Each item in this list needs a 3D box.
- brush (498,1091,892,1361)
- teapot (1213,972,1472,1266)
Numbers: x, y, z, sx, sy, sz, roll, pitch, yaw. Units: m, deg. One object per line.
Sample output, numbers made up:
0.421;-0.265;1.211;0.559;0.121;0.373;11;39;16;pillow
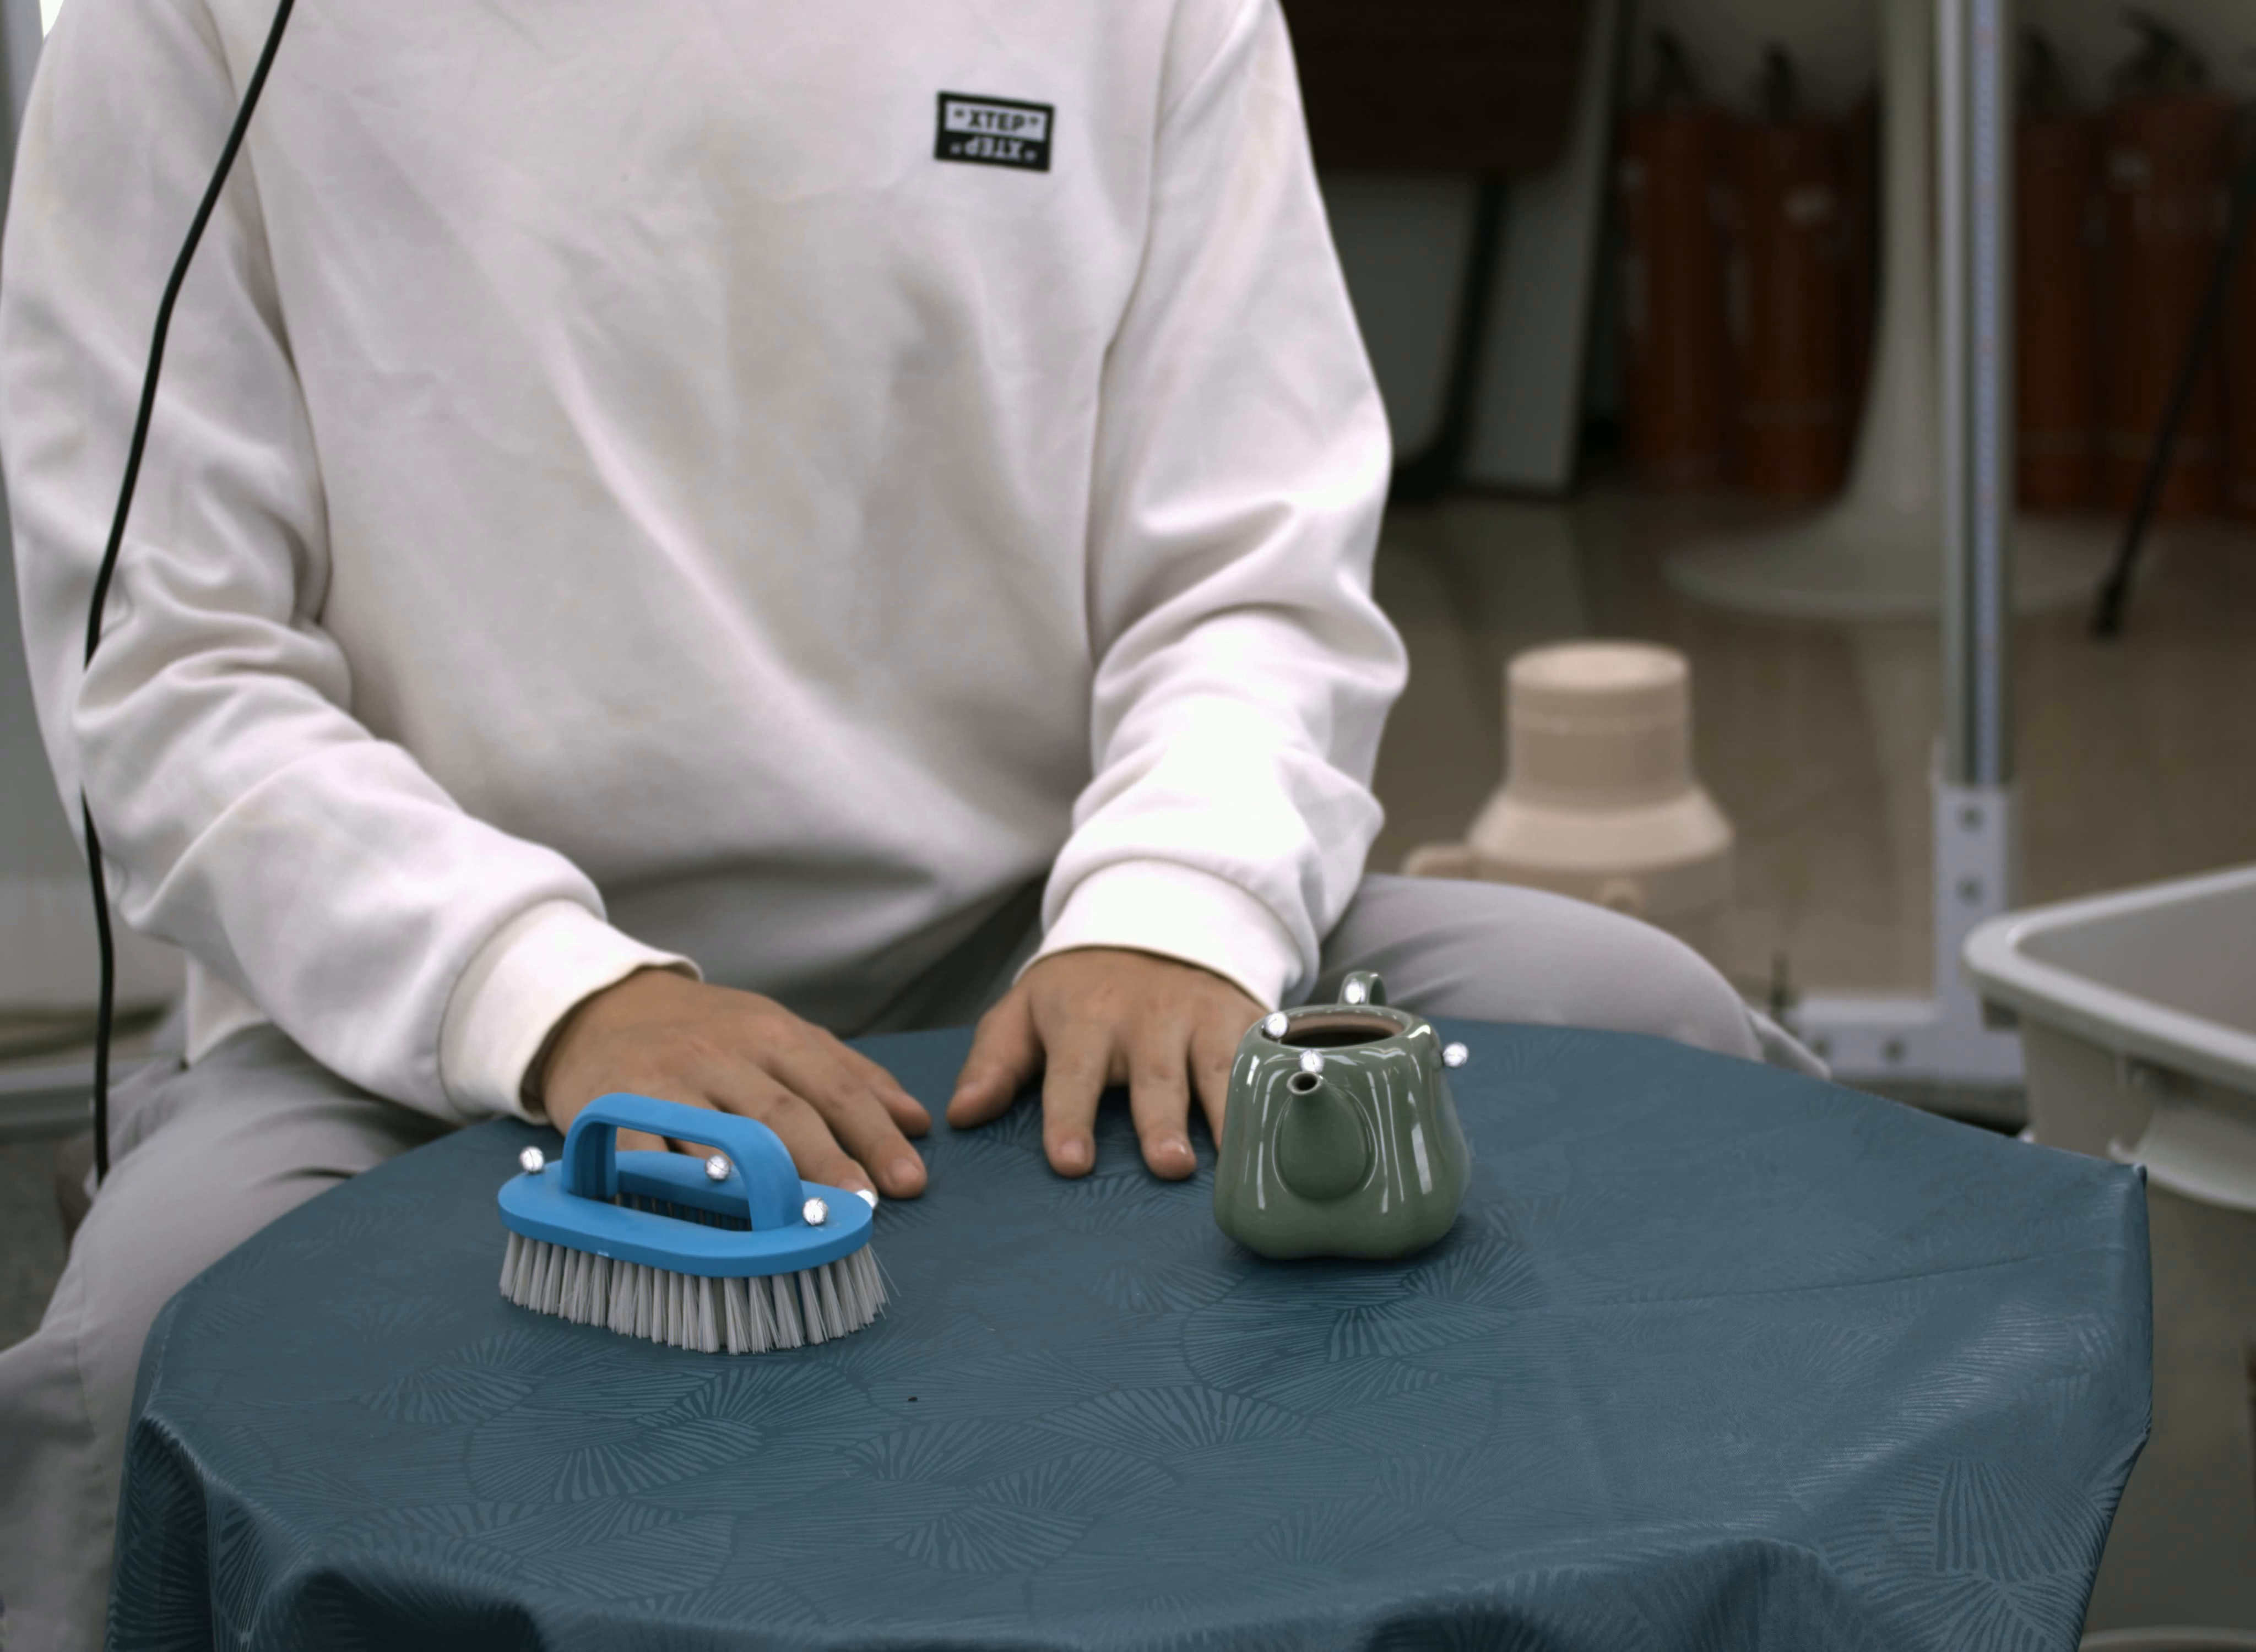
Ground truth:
-0.139;0.118;1.690;0.143;0.064;0.083;7;21;43;brush
0.068;0.096;1.707;0.079;0.076;0.131;0;13;13;teapot
